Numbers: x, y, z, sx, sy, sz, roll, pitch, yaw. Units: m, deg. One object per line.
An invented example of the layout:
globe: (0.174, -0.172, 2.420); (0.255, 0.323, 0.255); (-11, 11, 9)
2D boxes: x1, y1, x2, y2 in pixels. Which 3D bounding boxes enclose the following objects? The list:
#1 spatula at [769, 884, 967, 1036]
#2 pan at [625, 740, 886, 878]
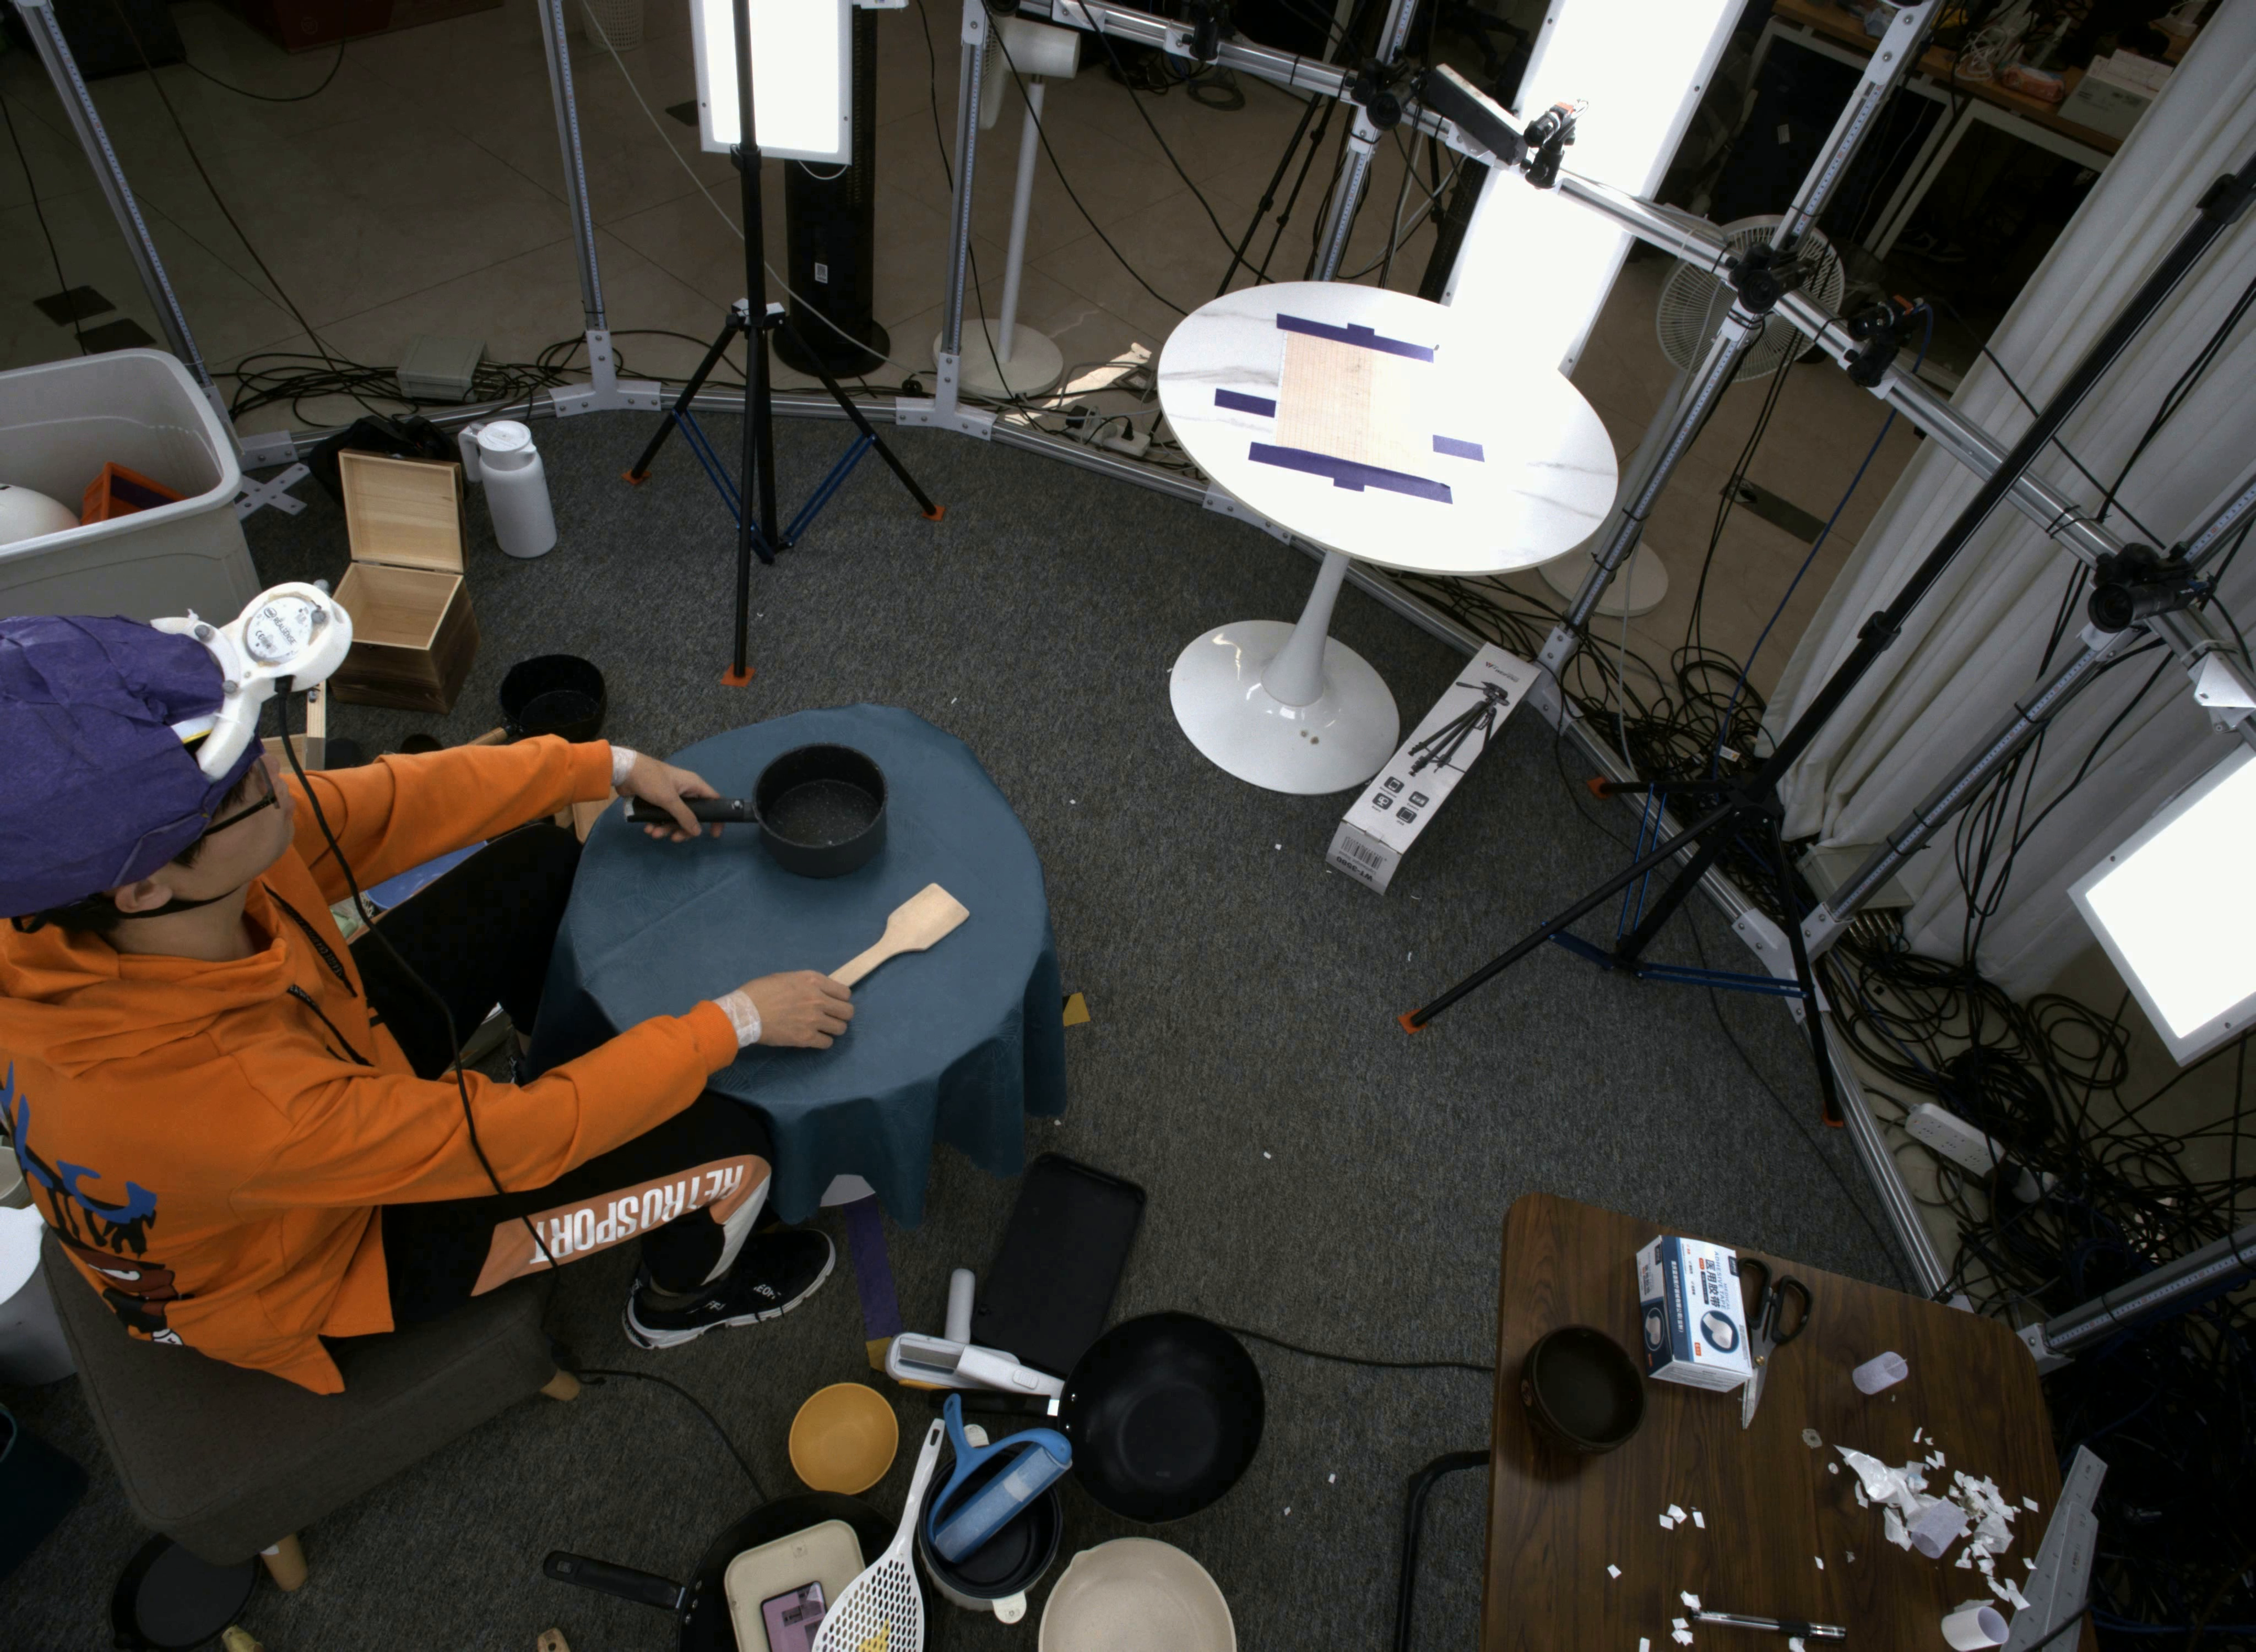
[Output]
spatula: (-0.322, 0.167, 1.604); (0.071, 0.011, 0.293); (42, 51, 14)
pan: (-0.475, -0.018, 1.661); (0.329, 0.088, 0.168); (-2, 54, -13)
